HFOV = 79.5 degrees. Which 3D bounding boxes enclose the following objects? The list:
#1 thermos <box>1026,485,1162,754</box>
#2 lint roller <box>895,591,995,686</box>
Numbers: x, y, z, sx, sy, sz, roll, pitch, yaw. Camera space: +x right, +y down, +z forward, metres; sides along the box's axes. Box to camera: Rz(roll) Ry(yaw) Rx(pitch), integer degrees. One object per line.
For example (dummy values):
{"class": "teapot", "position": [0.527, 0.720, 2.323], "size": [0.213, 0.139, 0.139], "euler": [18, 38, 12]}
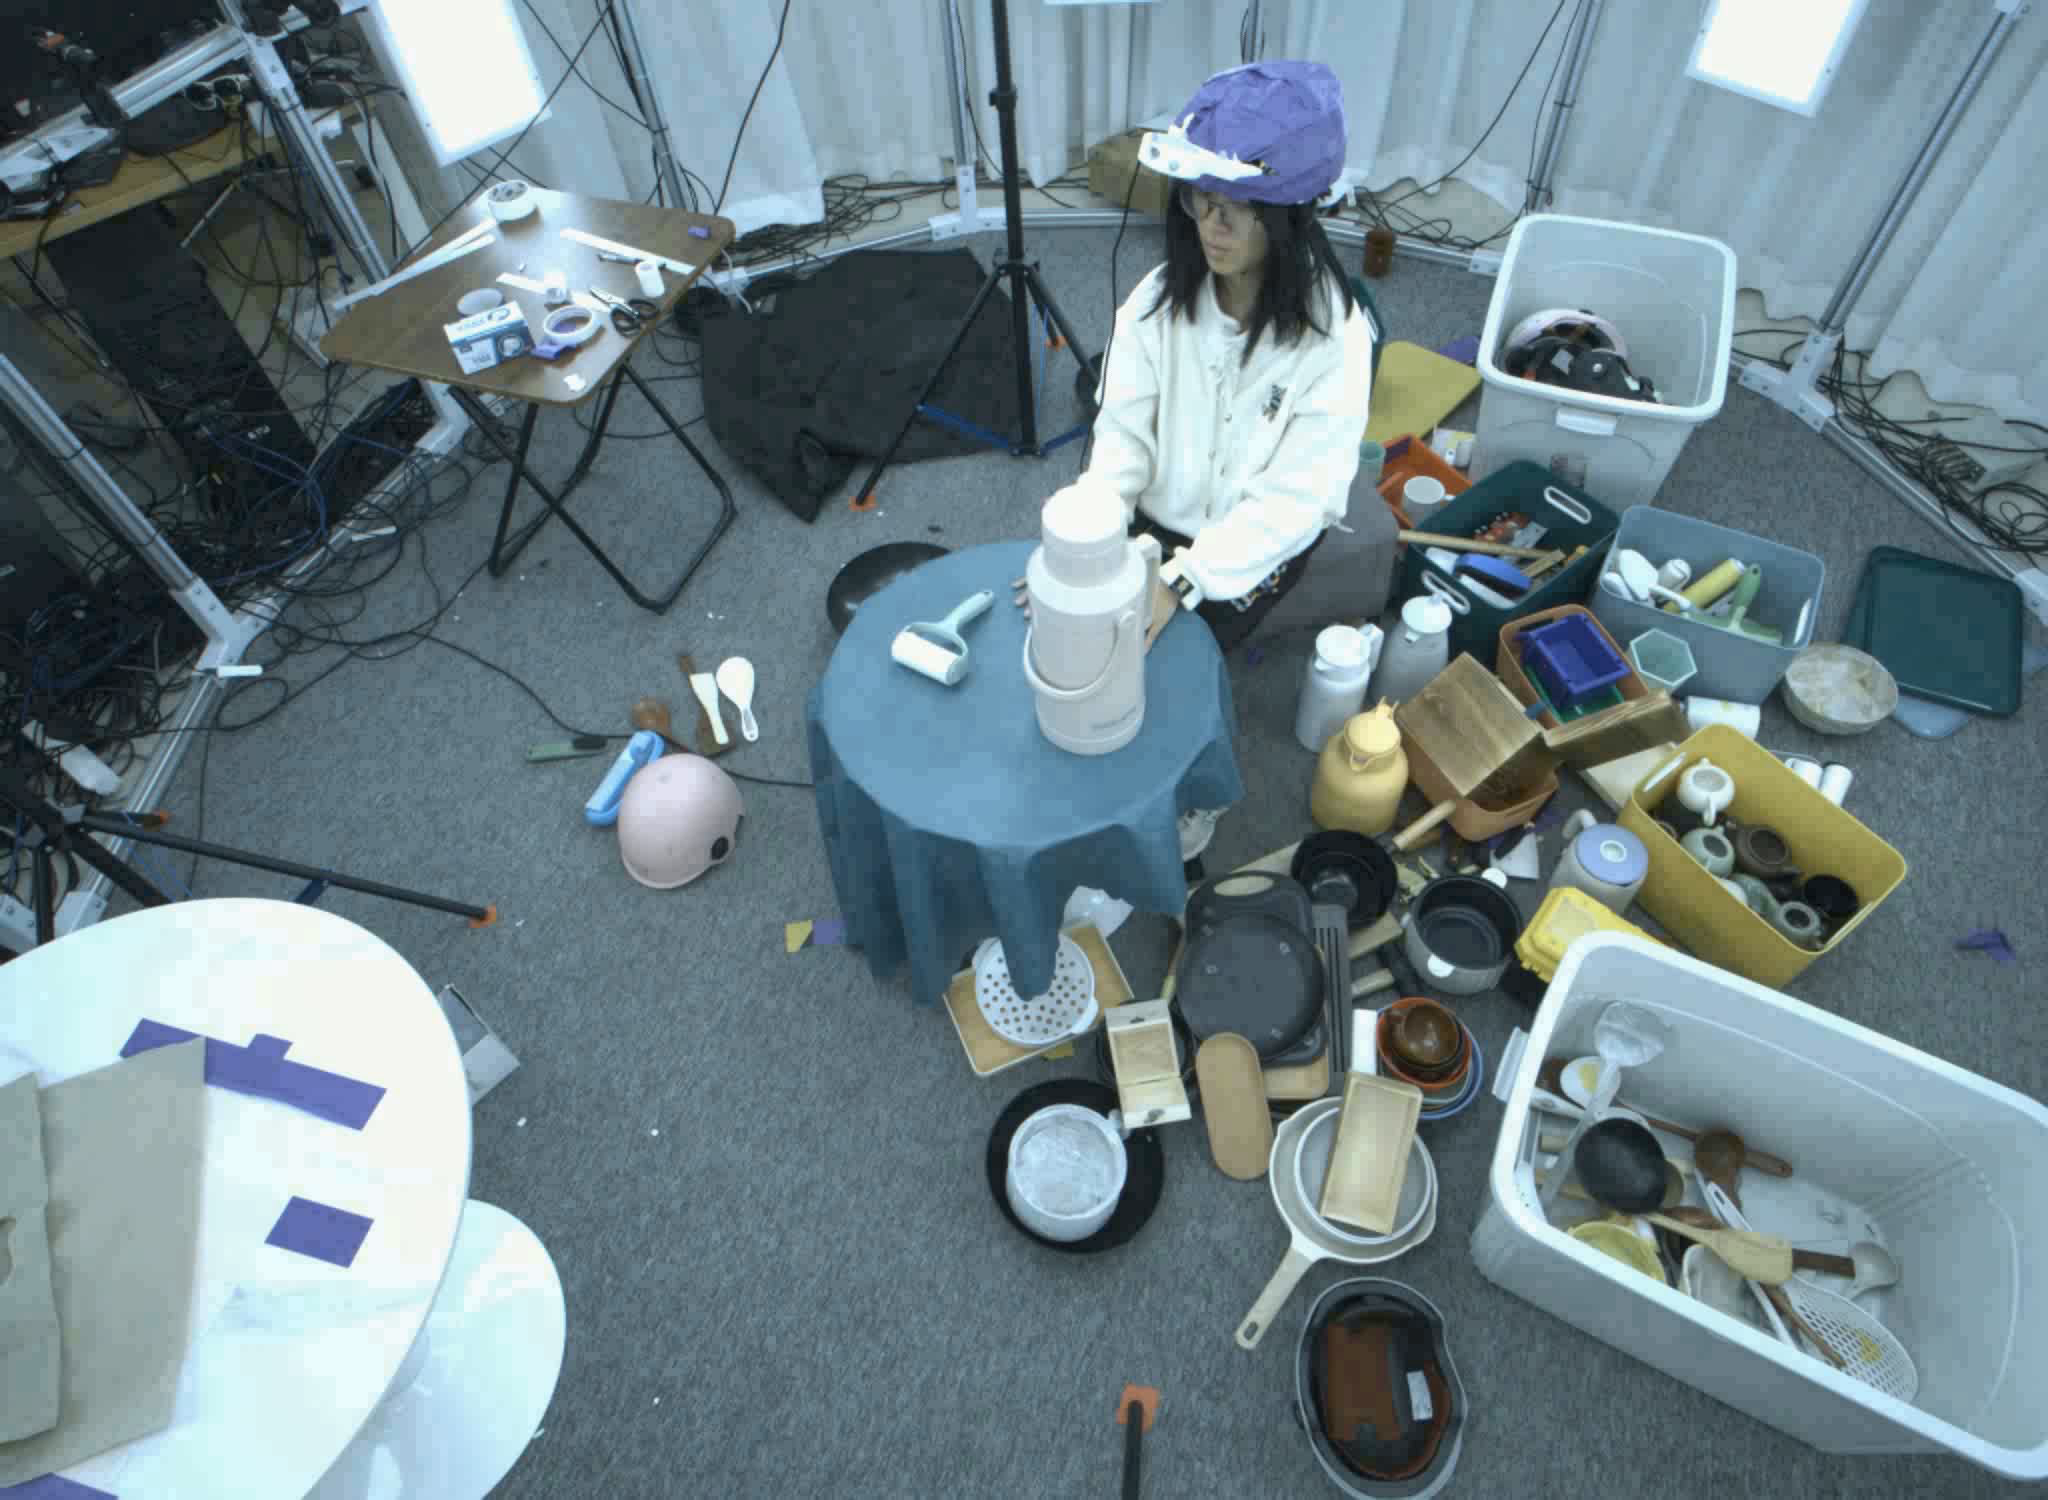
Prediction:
{"class": "thermos", "position": [0.098, -0.178, 1.667], "size": [0.208, 0.411, 0.172], "euler": [-32, 58, -18]}
{"class": "lint roller", "position": [-0.101, -0.187, 1.896], "size": [0.115, 0.049, 0.198], "euler": [25, 59, 21]}
